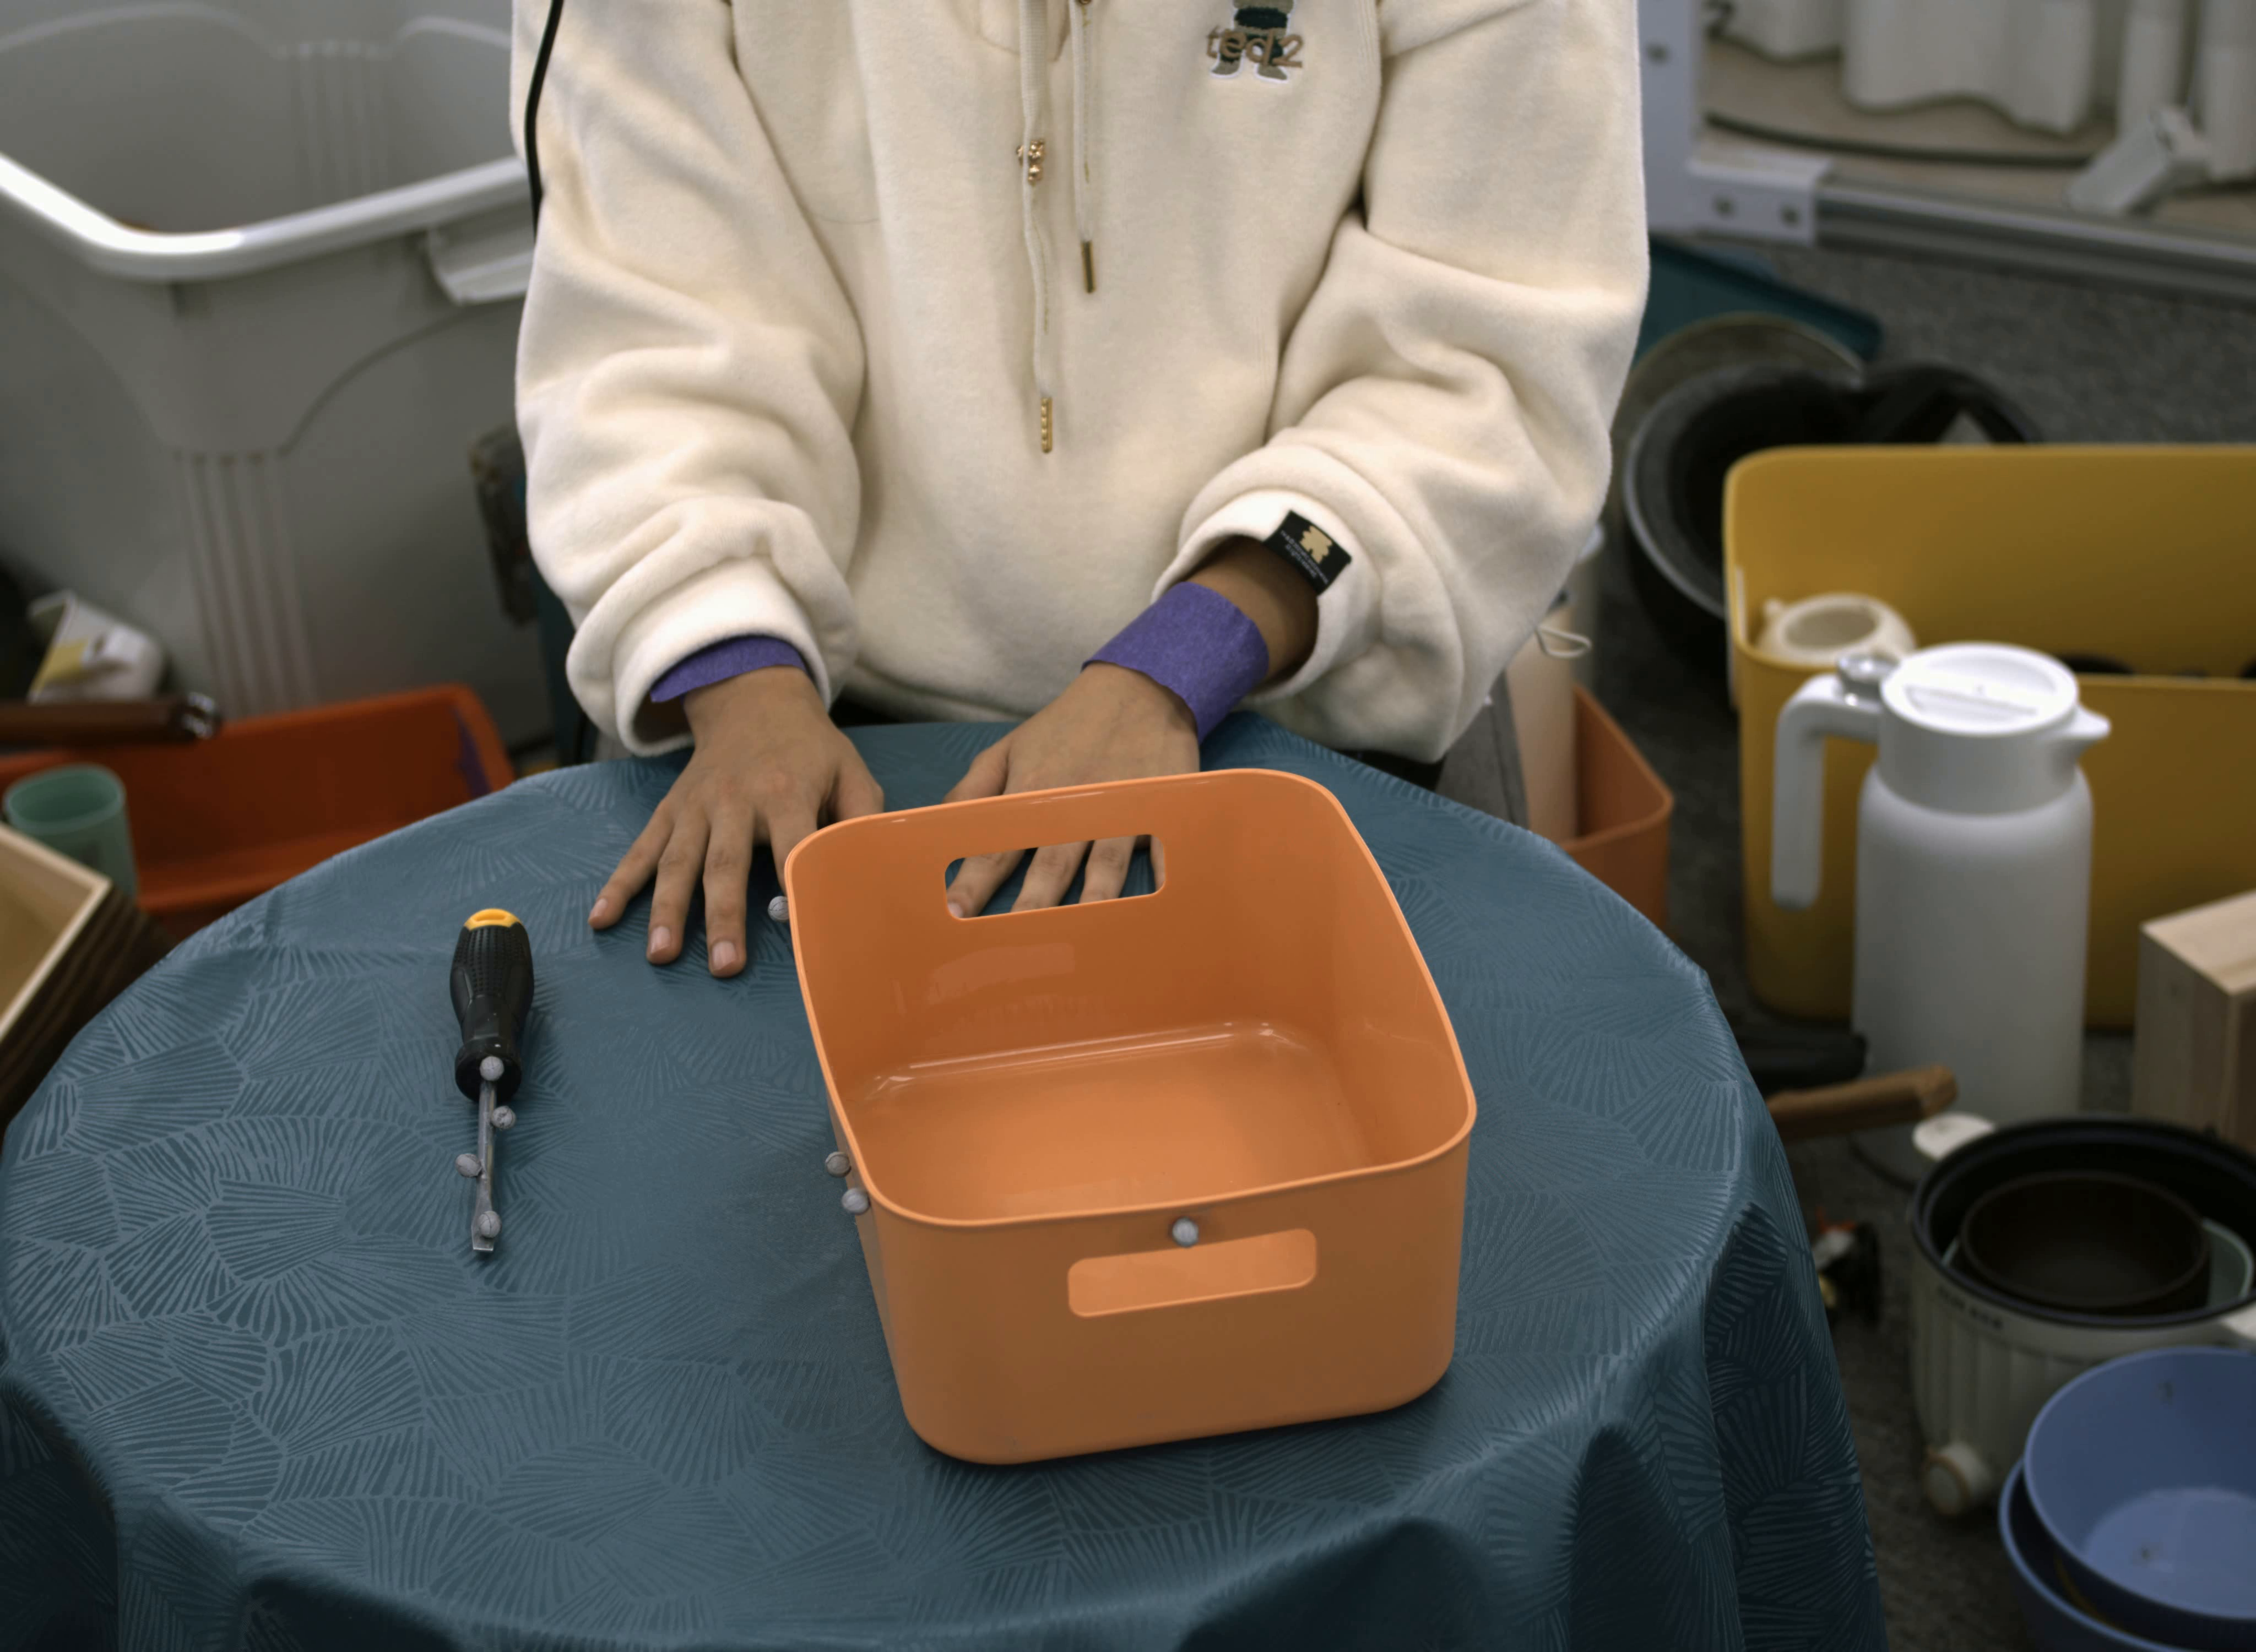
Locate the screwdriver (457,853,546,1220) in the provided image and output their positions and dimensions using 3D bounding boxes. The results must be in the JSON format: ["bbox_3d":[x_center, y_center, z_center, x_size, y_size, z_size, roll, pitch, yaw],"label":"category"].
[{"bbox_3d":[-0.212,0.074,1.927,0.031,0.031,0.201,-5,36,-6],"label":"screwdriver"}]

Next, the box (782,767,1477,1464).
[{"bbox_3d":[0.000,0.091,1.807,0.199,0.101,0.276,-8,28,-8],"label":"box"}]
